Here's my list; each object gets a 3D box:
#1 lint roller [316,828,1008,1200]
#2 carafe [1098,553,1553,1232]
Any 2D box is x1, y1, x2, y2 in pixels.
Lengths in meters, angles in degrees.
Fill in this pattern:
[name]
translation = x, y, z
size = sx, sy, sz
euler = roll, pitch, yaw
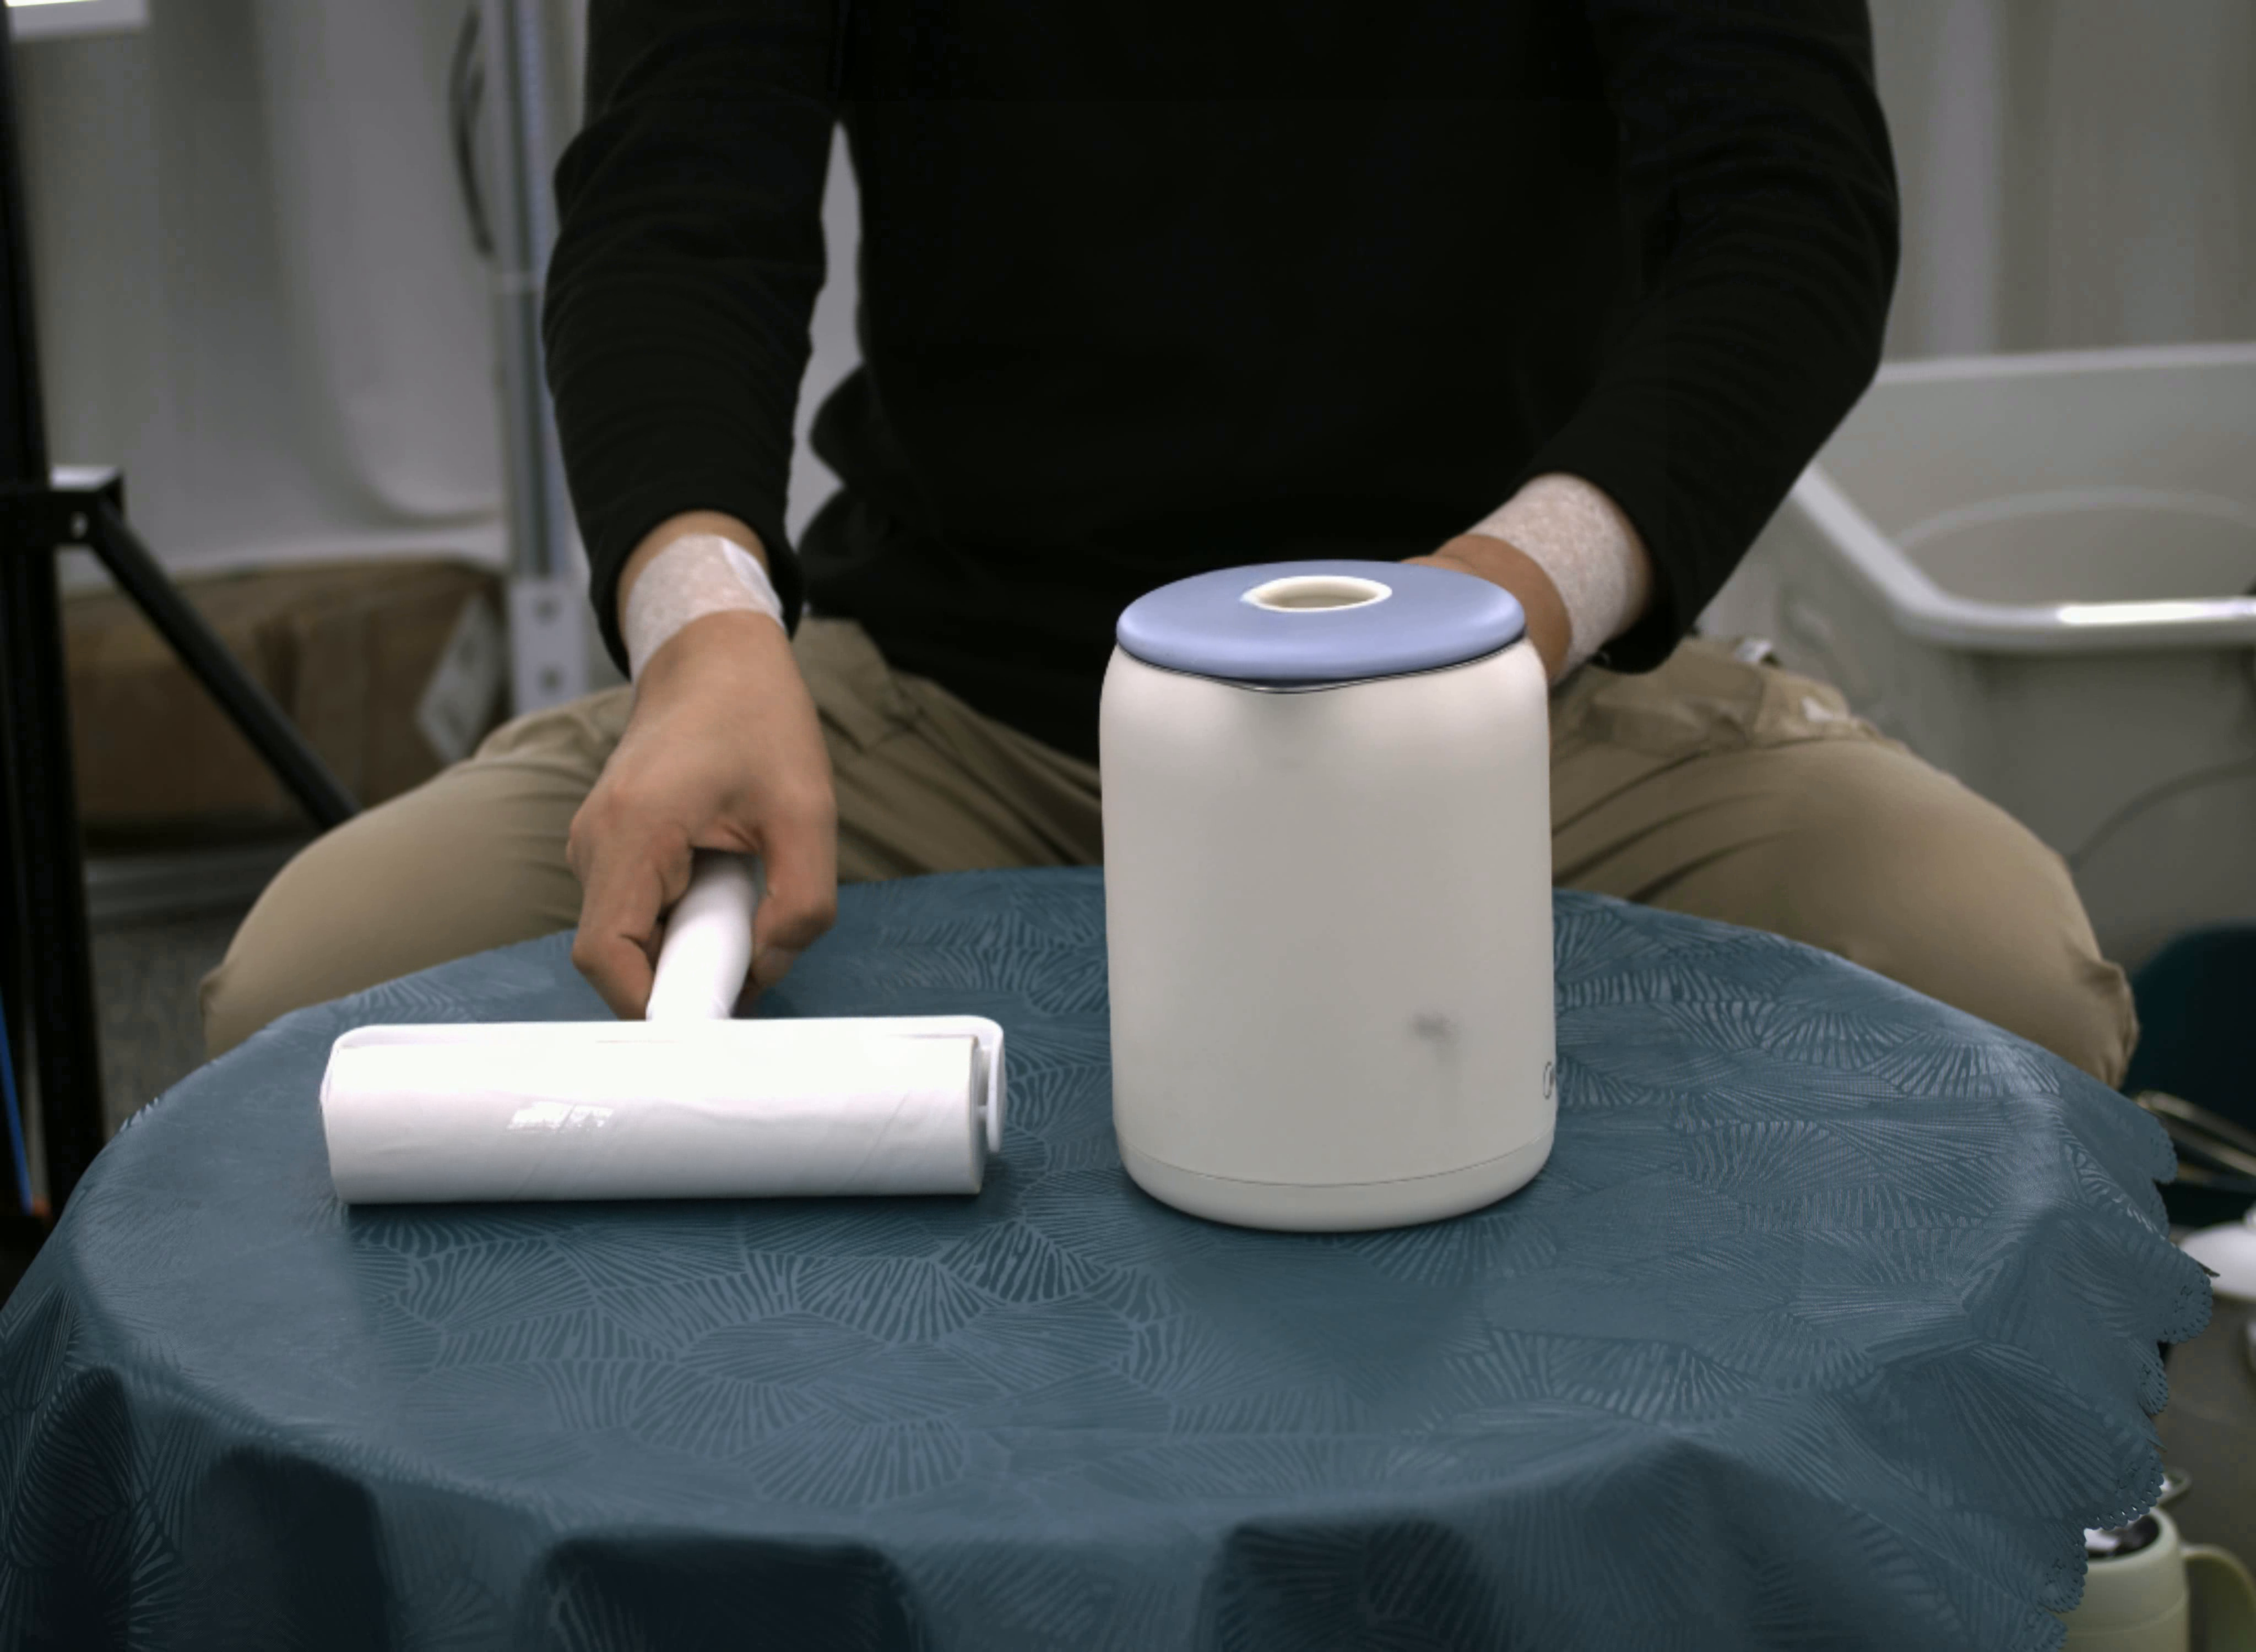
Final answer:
[lint roller]
translation = -0.134, 0.047, 1.652
size = 0.202, 0.048, 0.226
euler = -3, 26, 5
[carafe]
translation = 0.062, 0.012, 1.571
size = 0.133, 0.182, 0.190
euler = 1, 14, 10
